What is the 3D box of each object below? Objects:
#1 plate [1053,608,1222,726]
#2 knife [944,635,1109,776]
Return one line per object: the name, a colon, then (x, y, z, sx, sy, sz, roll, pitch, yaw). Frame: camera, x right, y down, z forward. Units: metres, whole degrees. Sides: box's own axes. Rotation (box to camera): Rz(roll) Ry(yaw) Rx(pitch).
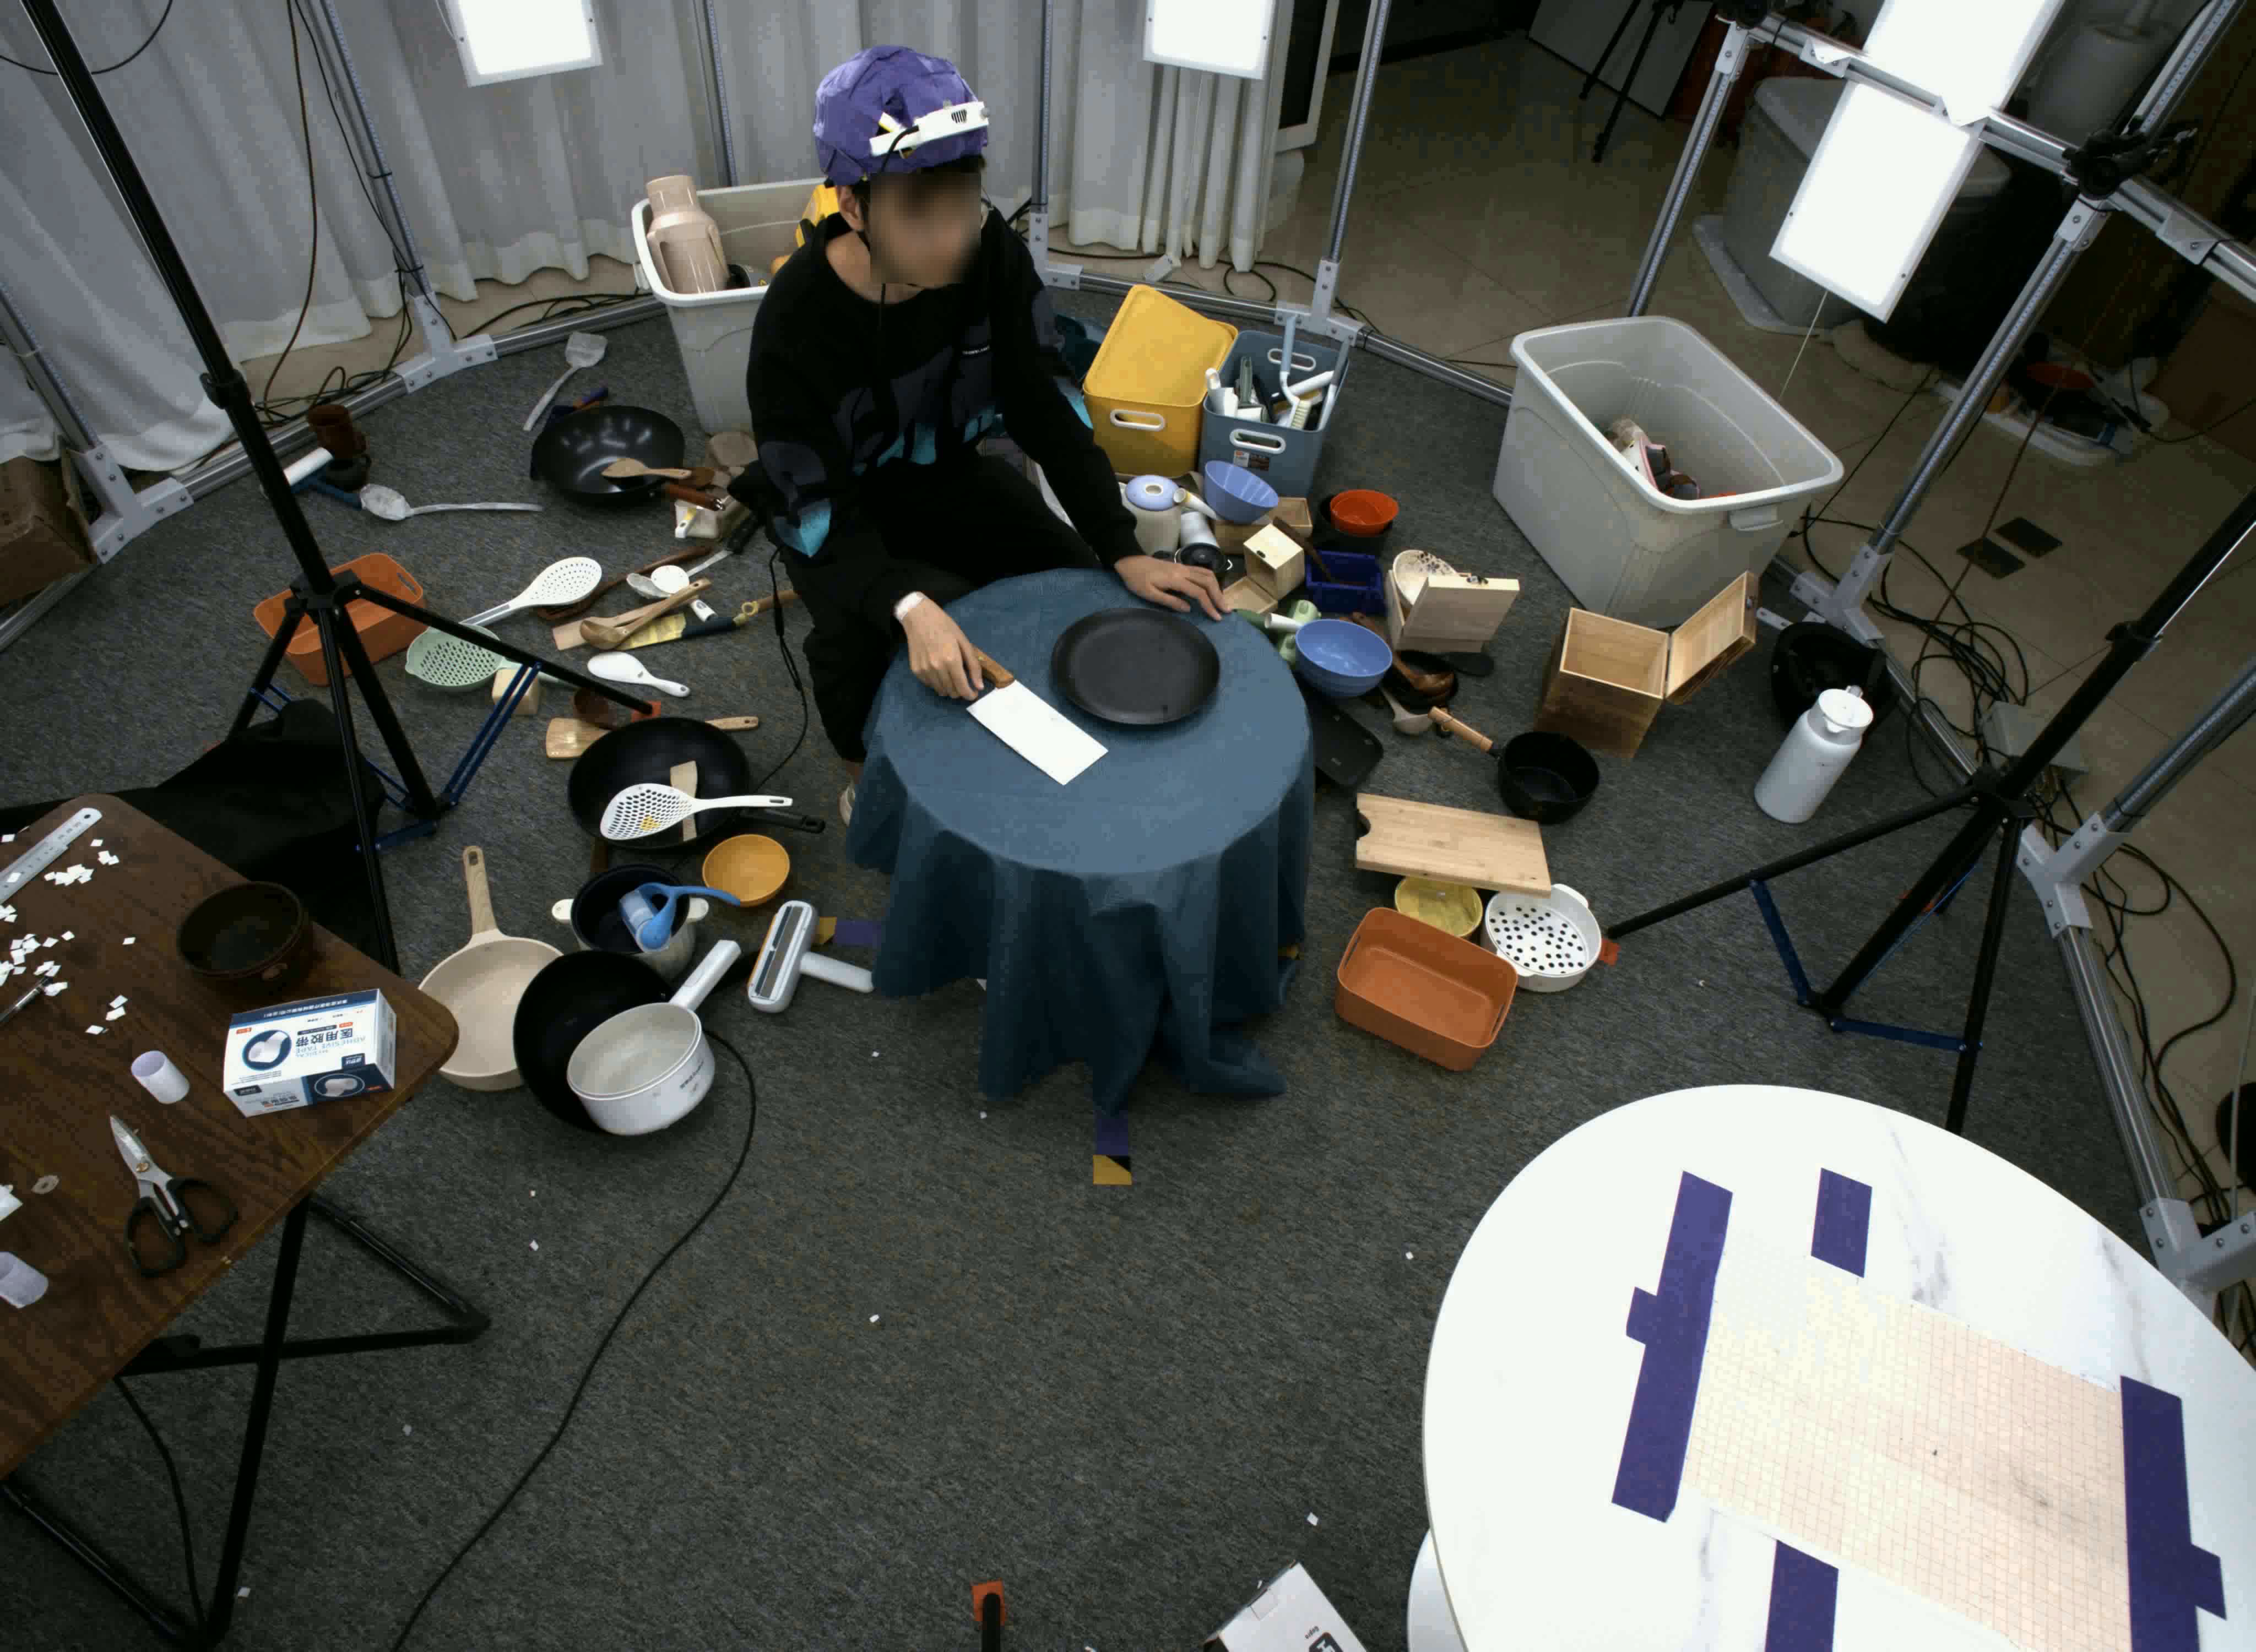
plate: (0.014, -0.227, 1.851, 0.244, 0.023, 0.250, 2, 49, -2)
knife: (-0.162, -0.167, 1.792, 0.310, 0.020, 0.094, 38, 58, 23)
